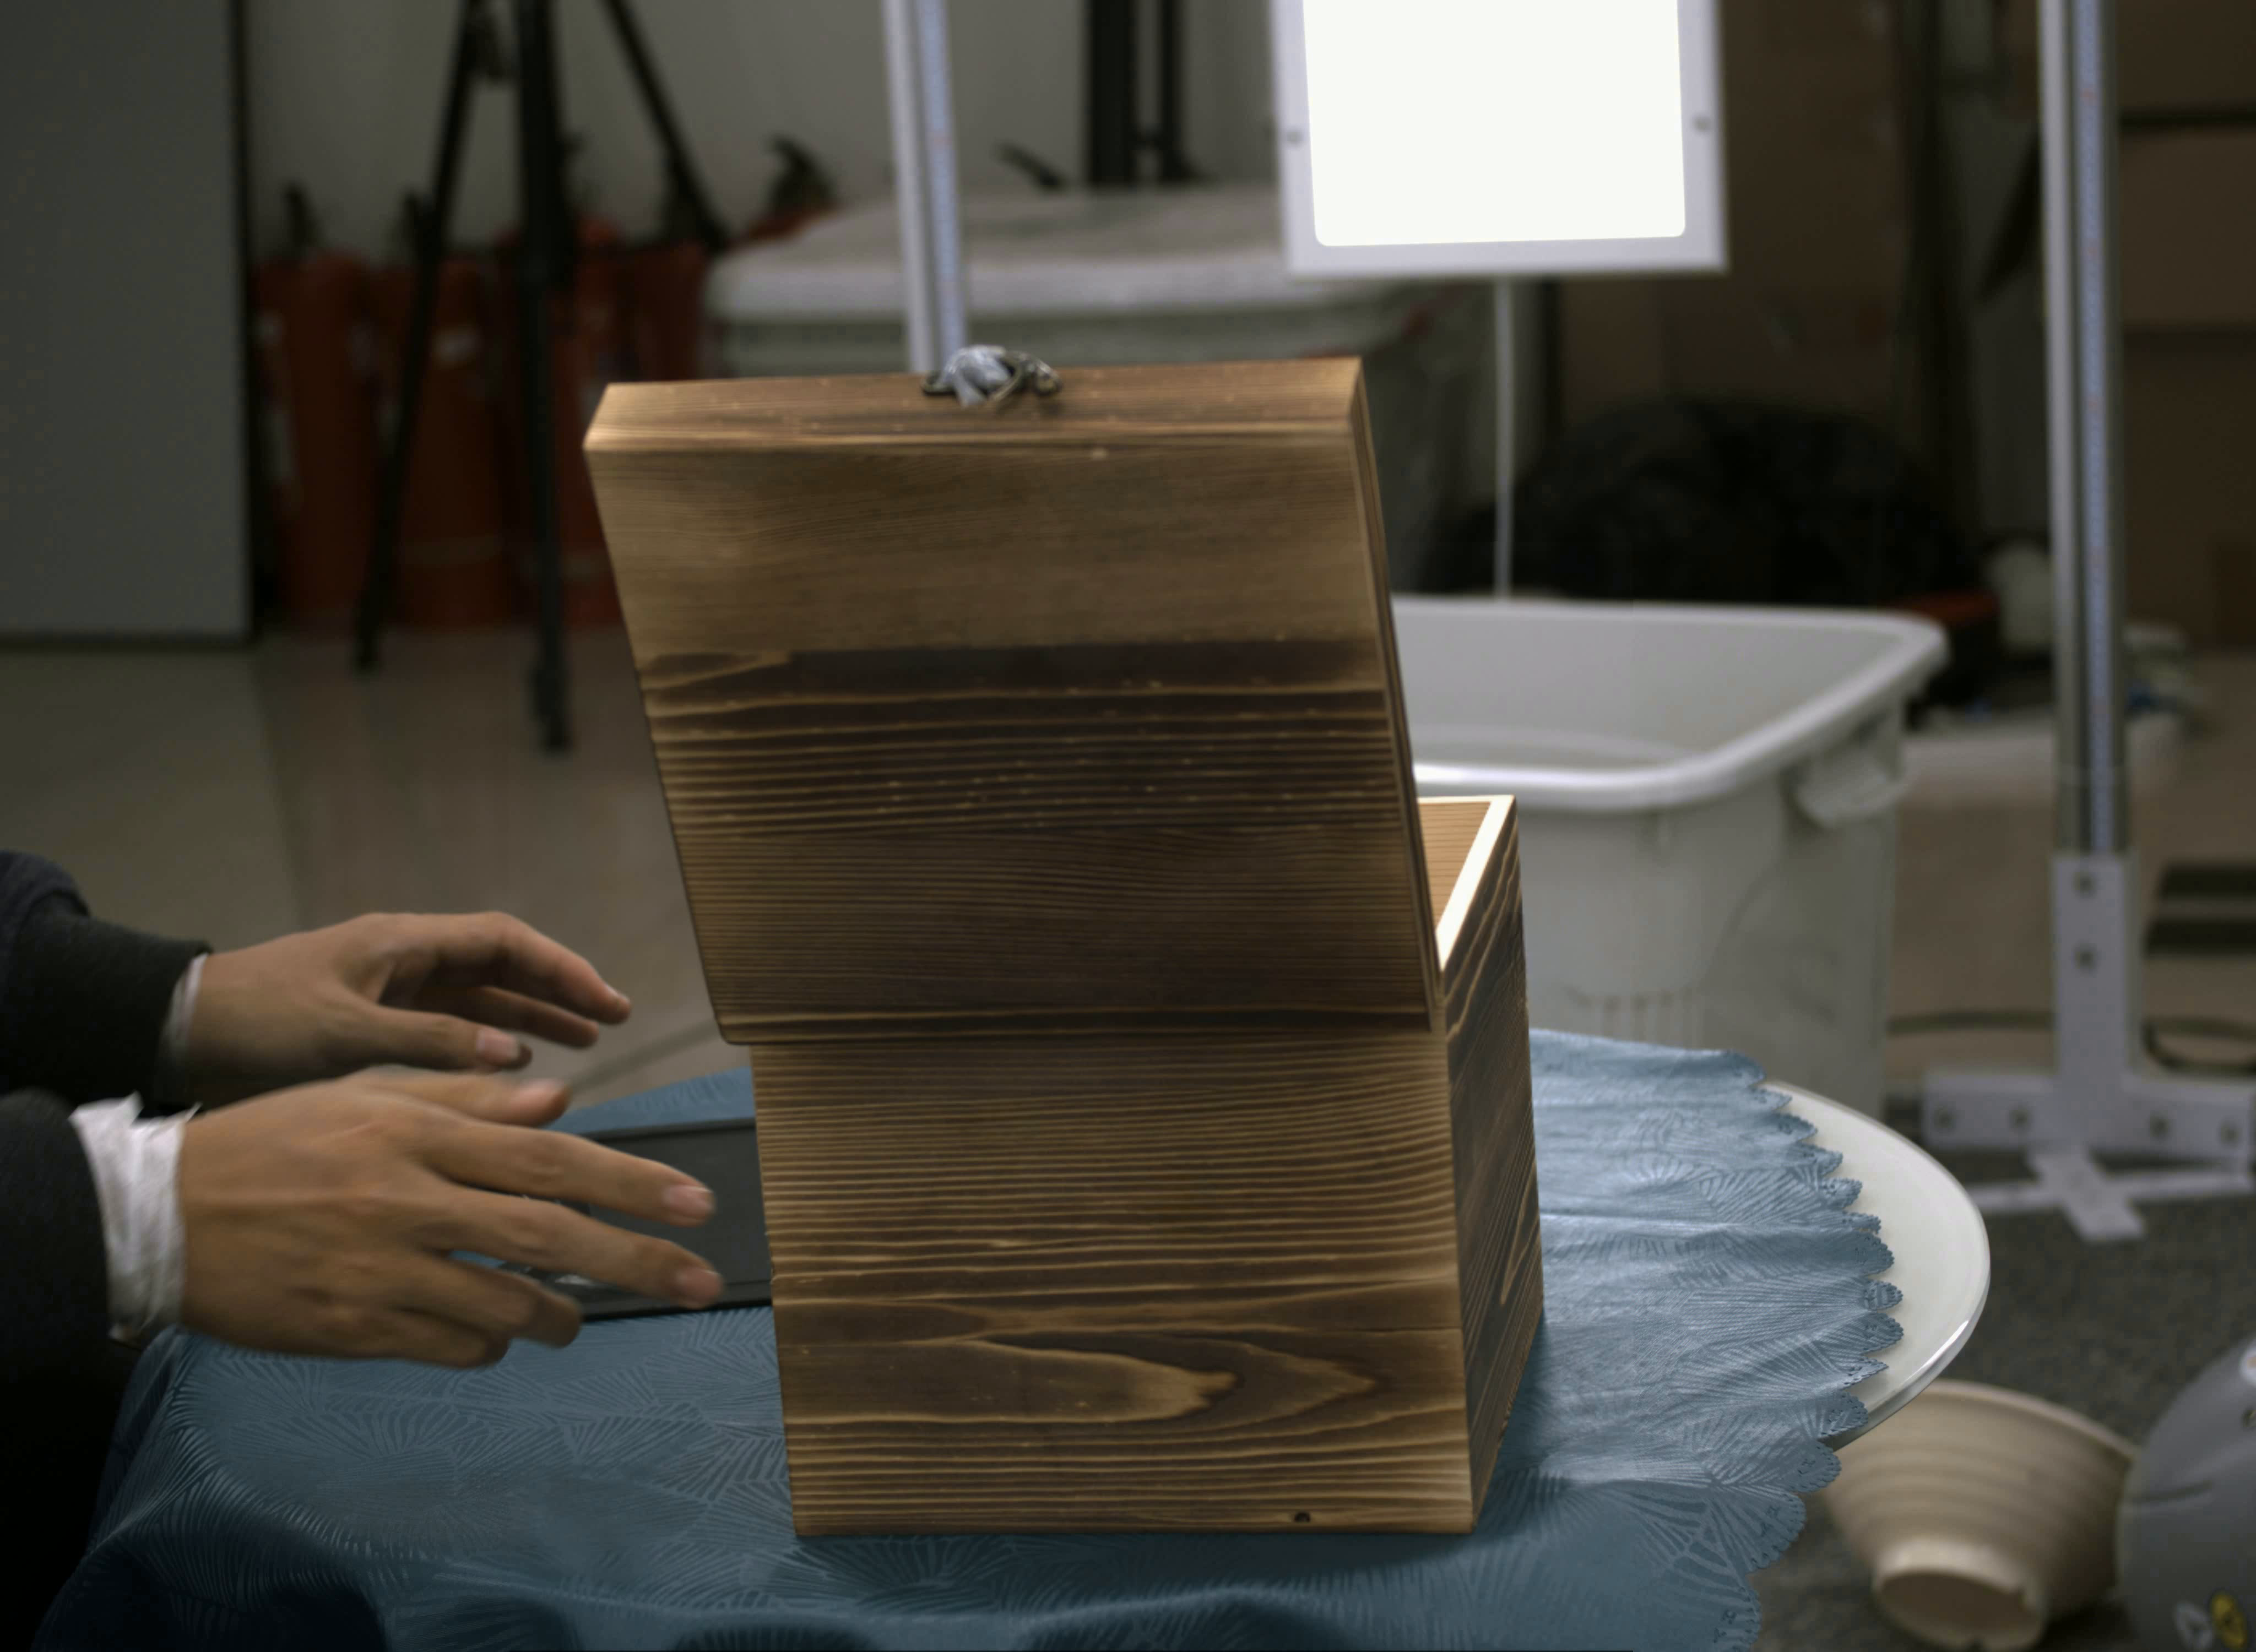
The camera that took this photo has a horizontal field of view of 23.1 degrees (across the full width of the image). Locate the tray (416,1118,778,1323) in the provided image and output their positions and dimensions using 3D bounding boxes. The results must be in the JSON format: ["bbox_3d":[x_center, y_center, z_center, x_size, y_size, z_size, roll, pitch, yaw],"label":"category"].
[{"bbox_3d":[-0.085,0.128,1.911,0.324,0.010,0.211,-5,14,0],"label":"tray"}]

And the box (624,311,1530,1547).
[{"bbox_3d":[-0.001,0.018,1.582,0.210,0.377,0.318,-1,14,11],"label":"box"}]
